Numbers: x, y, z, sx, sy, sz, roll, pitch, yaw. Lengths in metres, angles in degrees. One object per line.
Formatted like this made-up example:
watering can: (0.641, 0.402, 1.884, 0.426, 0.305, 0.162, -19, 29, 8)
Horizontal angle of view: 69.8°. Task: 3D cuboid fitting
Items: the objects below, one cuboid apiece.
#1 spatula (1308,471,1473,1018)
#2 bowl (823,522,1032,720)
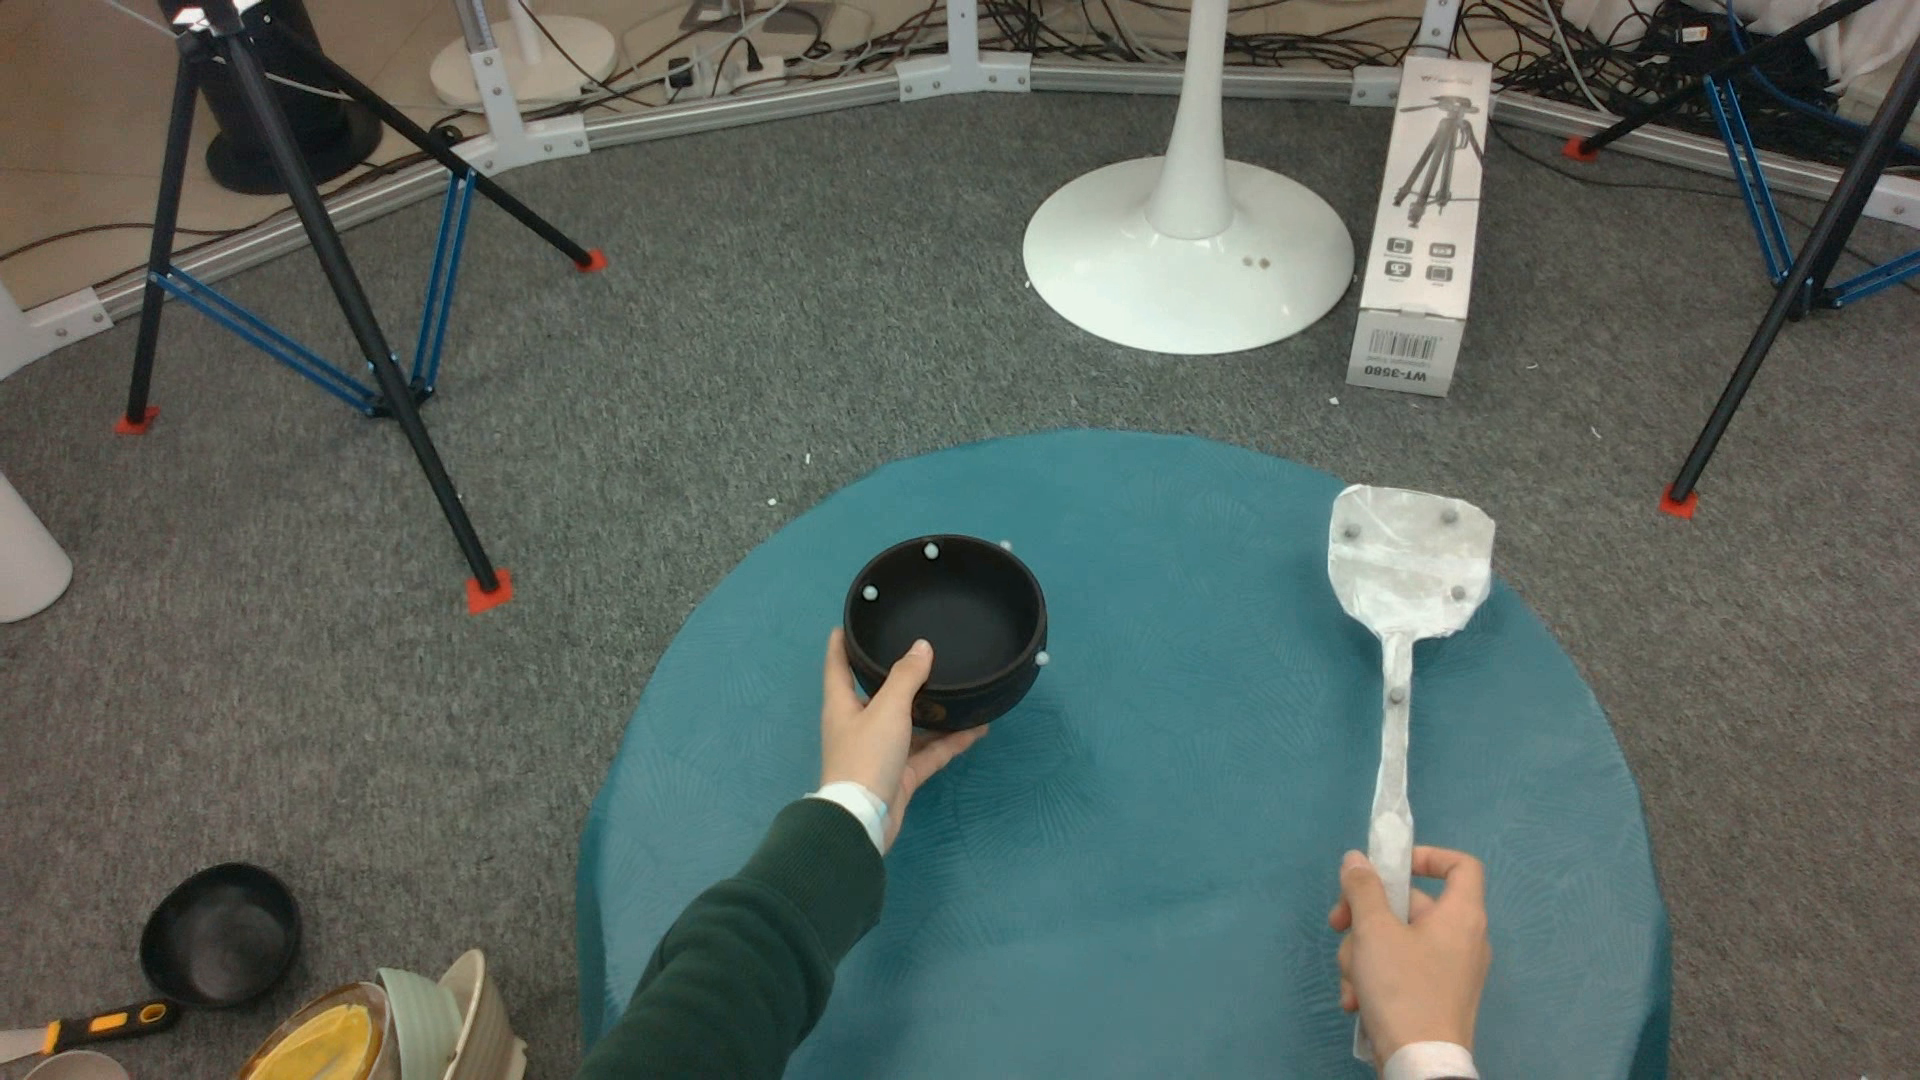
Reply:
spatula: (0.228, 0.095, 0.766, 0.098, 0.044, 0.367, 14, 45, 9)
bowl: (-0.017, 0.054, 0.796, 0.118, 0.069, 0.118, -3, 48, 3)
